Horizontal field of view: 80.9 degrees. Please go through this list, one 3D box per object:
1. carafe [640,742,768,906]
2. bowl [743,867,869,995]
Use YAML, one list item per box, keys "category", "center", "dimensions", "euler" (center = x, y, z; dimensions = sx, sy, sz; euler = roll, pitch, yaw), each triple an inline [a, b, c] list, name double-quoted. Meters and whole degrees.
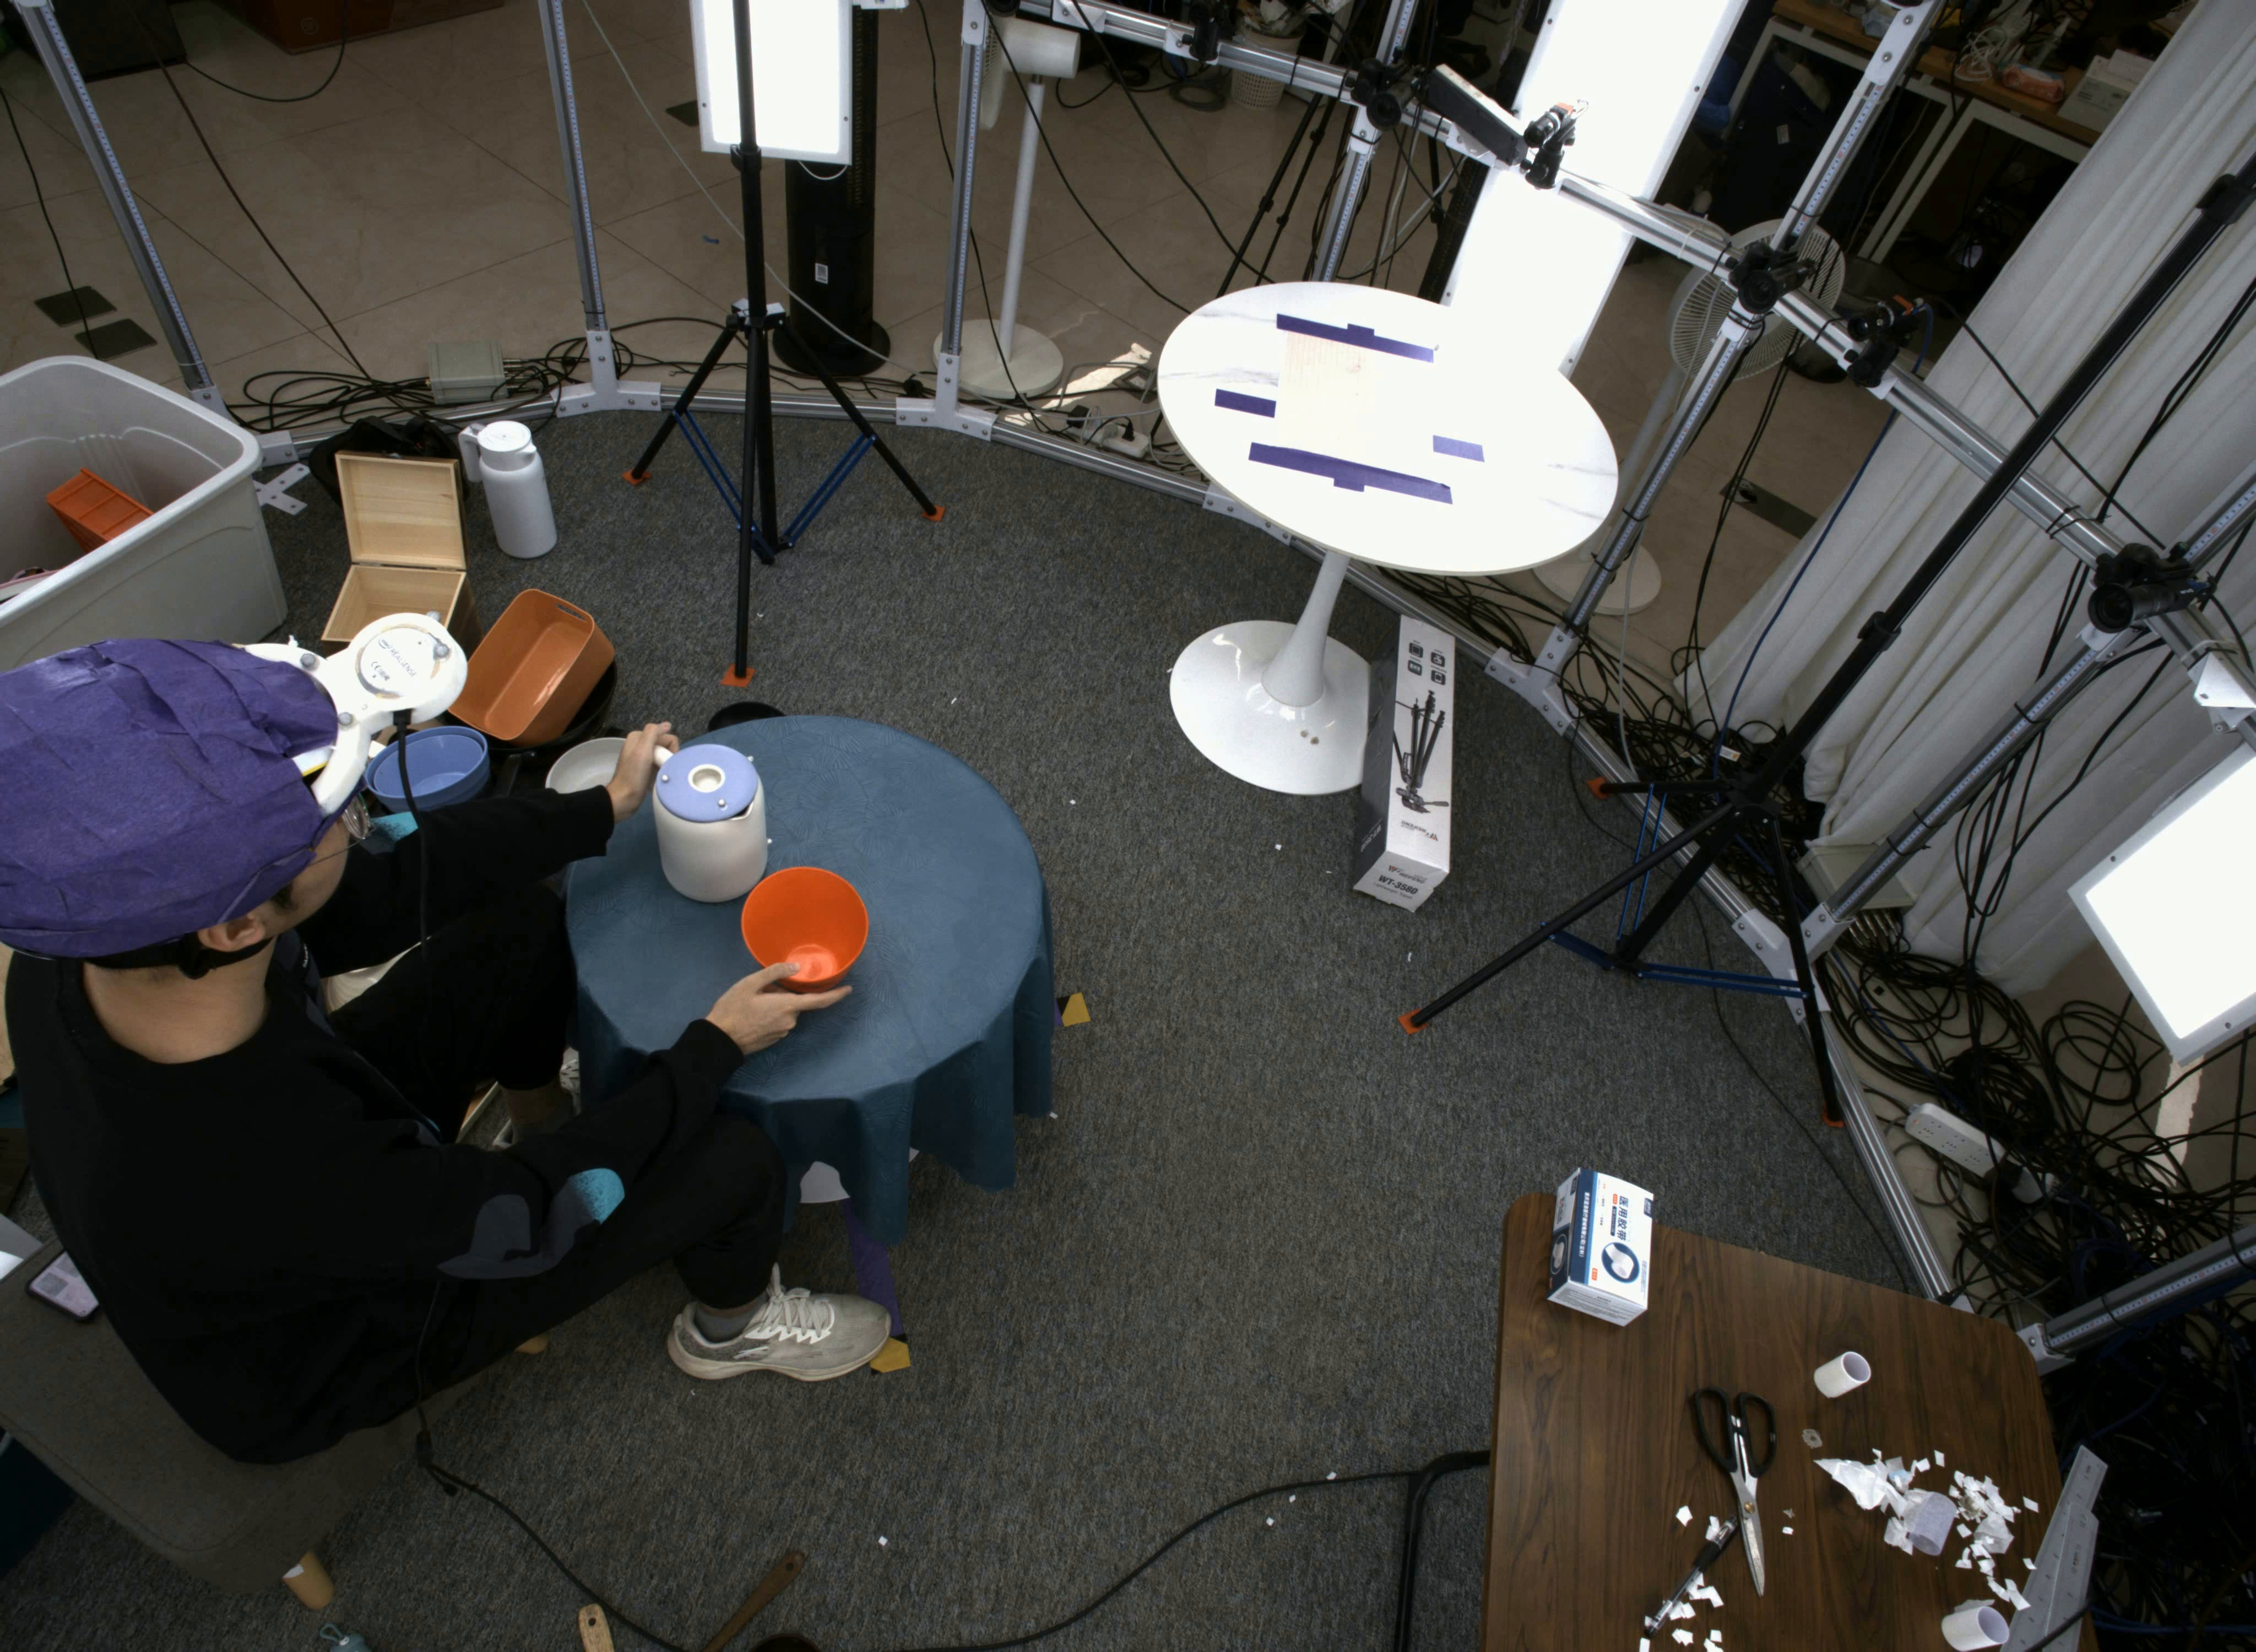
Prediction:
- category: "carafe"
  center: [-0.537, -0.016, 1.602]
  dimensions: [0.187, 0.187, 0.132]
  euler: [32, 52, 15]
- category: "bowl"
  center: [-0.388, 0.138, 1.573]
  dimensions: [0.148, 0.107, 0.145]
  euler: [7, 52, -8]
